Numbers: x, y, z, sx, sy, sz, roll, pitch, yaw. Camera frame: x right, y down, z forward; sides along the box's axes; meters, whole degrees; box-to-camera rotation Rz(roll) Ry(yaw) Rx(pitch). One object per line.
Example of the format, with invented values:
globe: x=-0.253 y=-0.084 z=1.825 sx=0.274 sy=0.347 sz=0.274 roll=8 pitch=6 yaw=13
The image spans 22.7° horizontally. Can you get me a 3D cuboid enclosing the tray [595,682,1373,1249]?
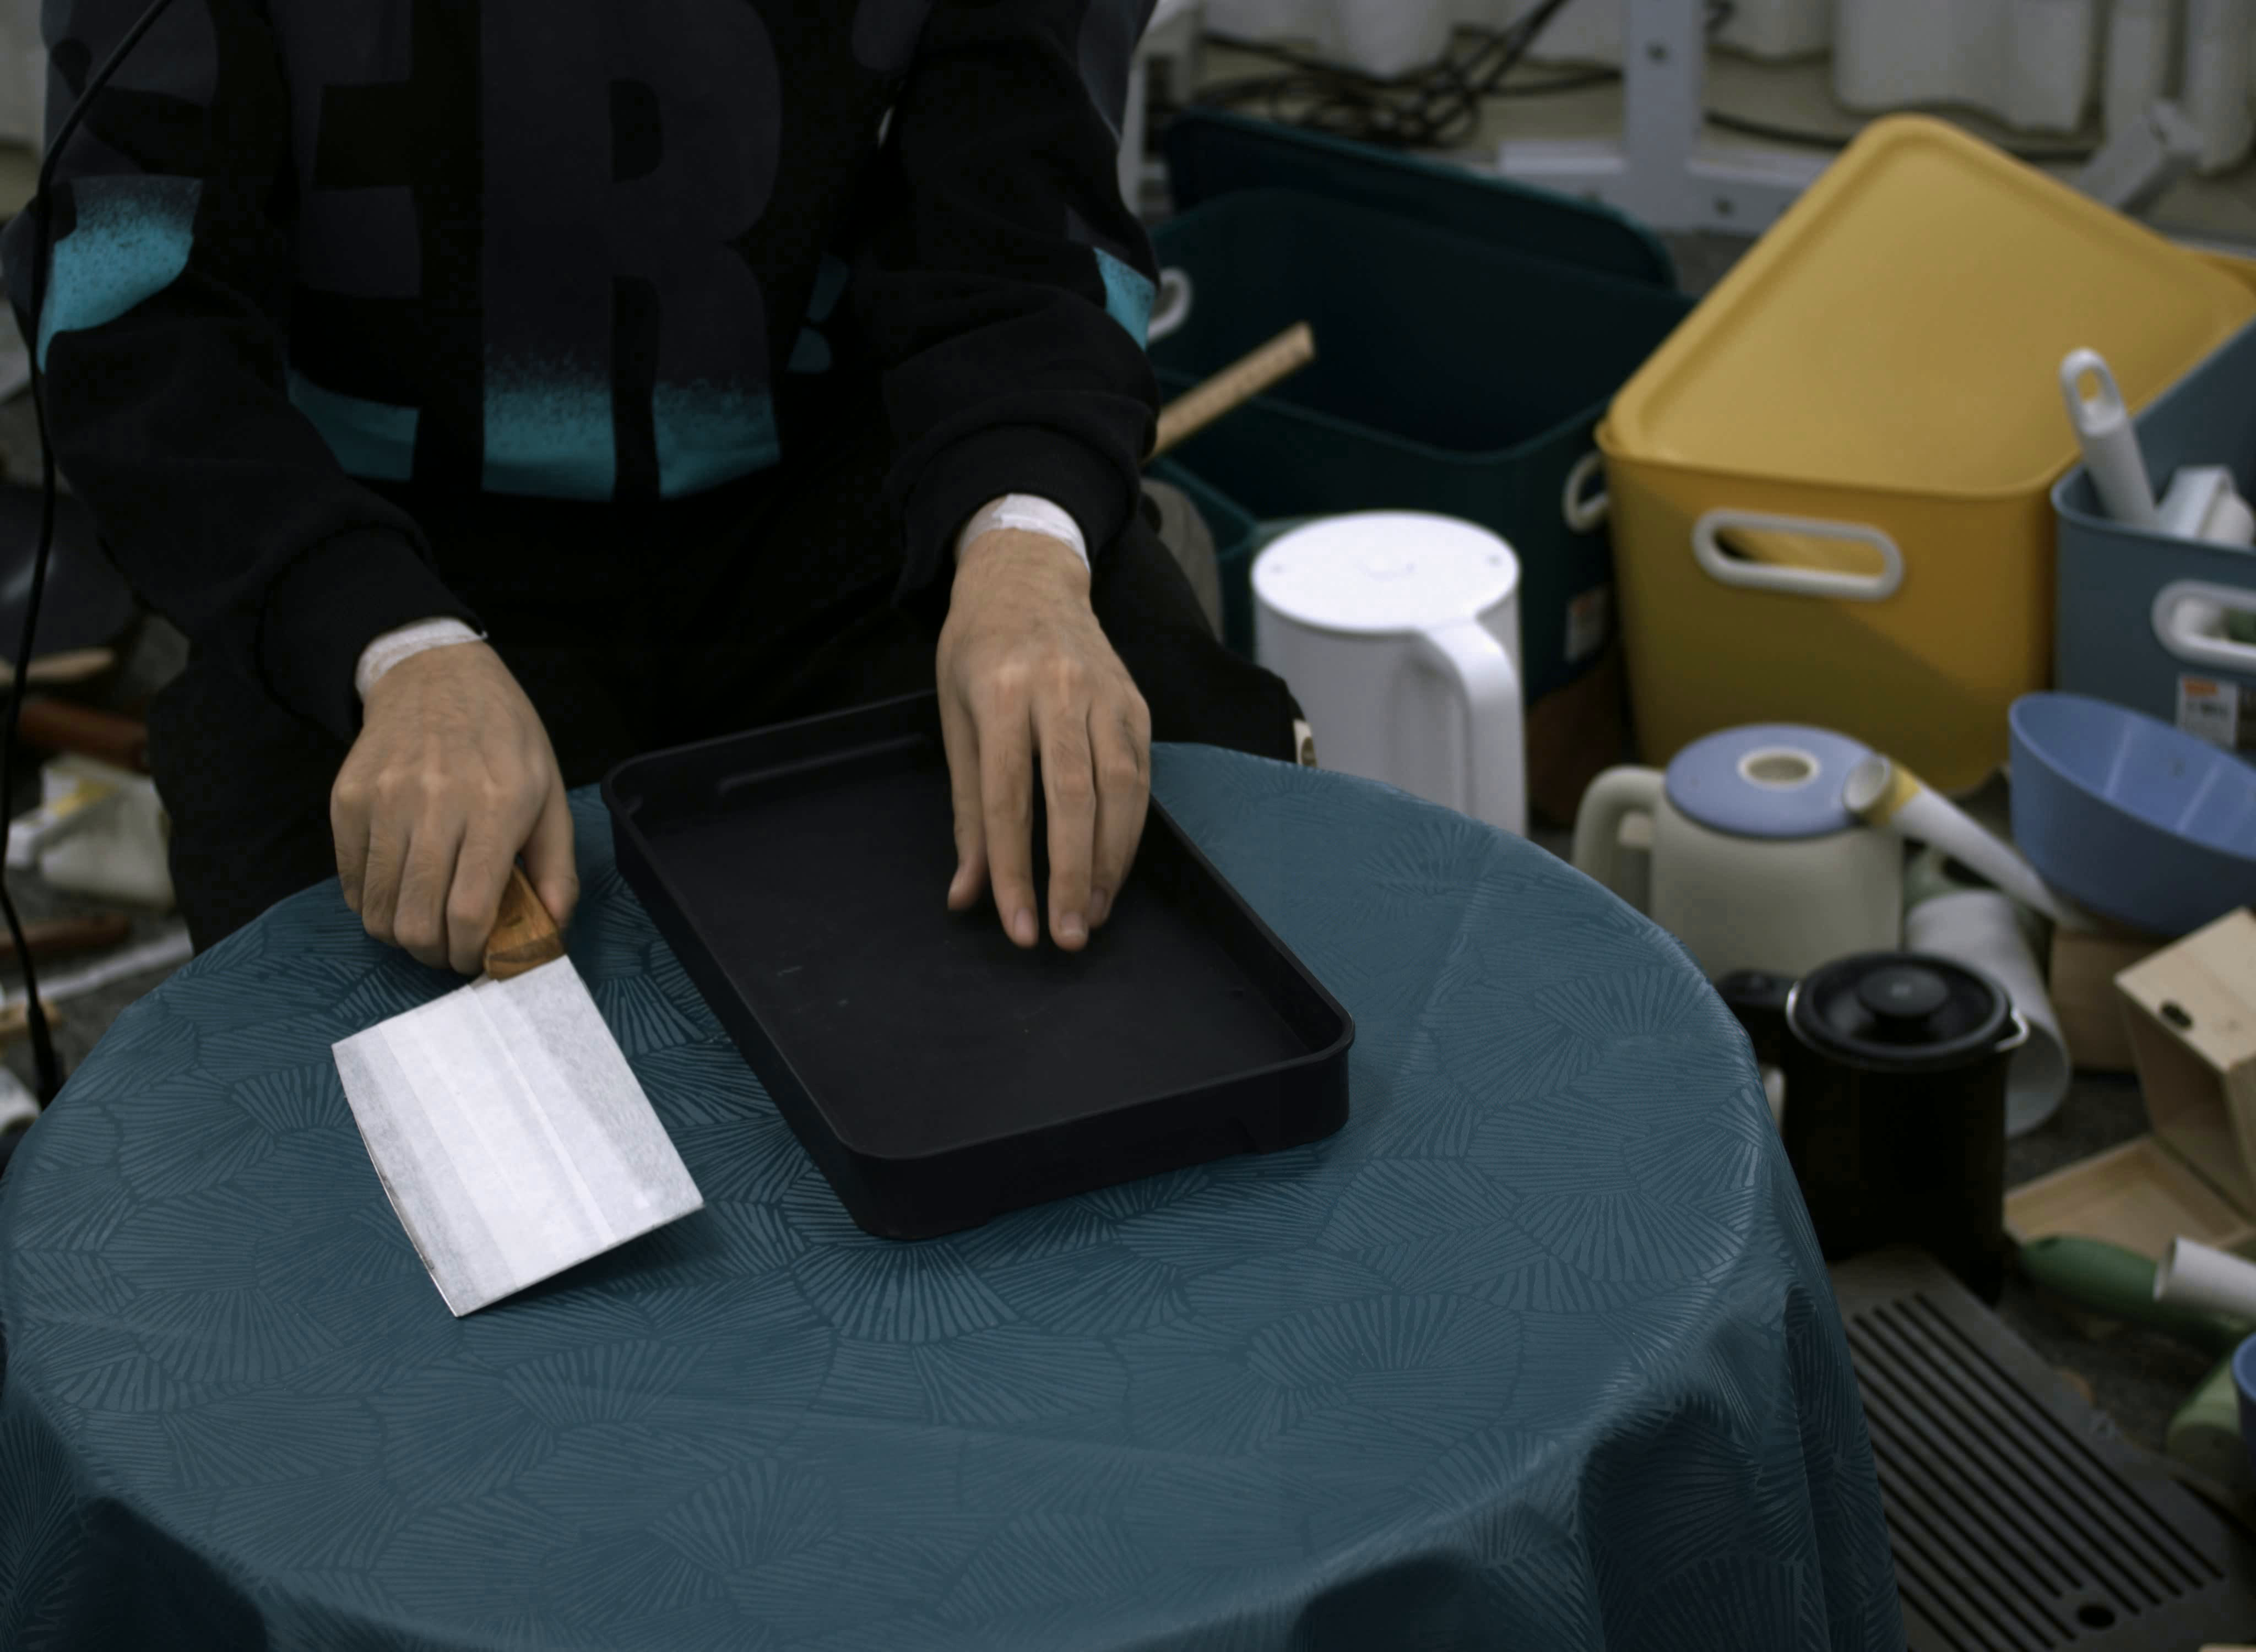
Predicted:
tray: x=-0.056 y=0.043 z=1.980 sx=0.185 sy=0.036 sz=0.320 roll=-14 pitch=29 yaw=-19

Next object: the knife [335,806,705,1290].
knife: x=-0.226 y=0.077 z=1.947 sx=0.093 sy=0.021 sz=0.308 roll=-23 pitch=31 yaw=-9
